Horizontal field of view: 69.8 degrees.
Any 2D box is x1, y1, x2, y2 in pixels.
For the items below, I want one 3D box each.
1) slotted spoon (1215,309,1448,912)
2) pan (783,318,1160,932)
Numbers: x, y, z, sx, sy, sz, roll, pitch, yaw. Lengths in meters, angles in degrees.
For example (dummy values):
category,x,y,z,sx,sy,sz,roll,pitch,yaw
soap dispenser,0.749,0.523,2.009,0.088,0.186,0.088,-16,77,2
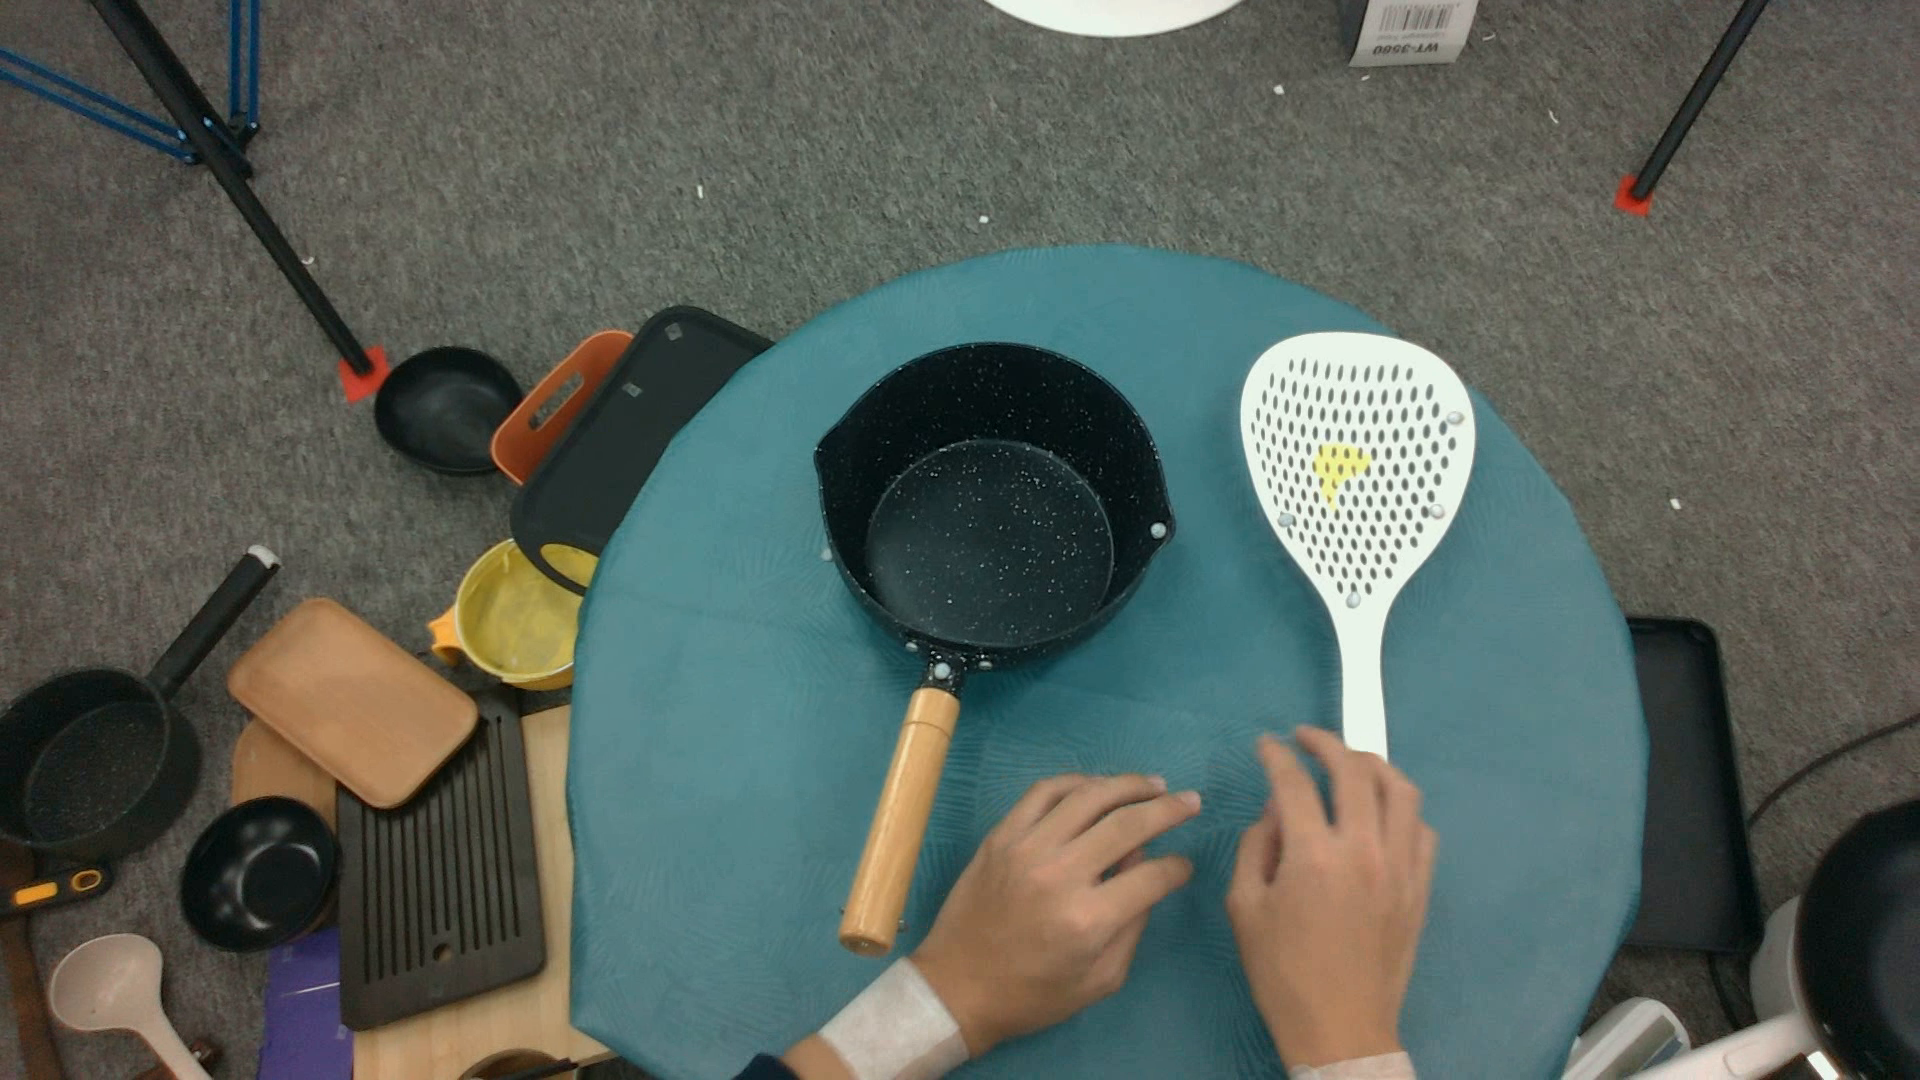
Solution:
category,x,y,z,sx,sy,sz,roll,pitch,yaw
slotted spoon,0.212,0.027,0.772,0.137,0.050,0.349,3,64,-1
pan,-0.011,0.043,0.726,0.207,0.108,0.344,12,64,4
